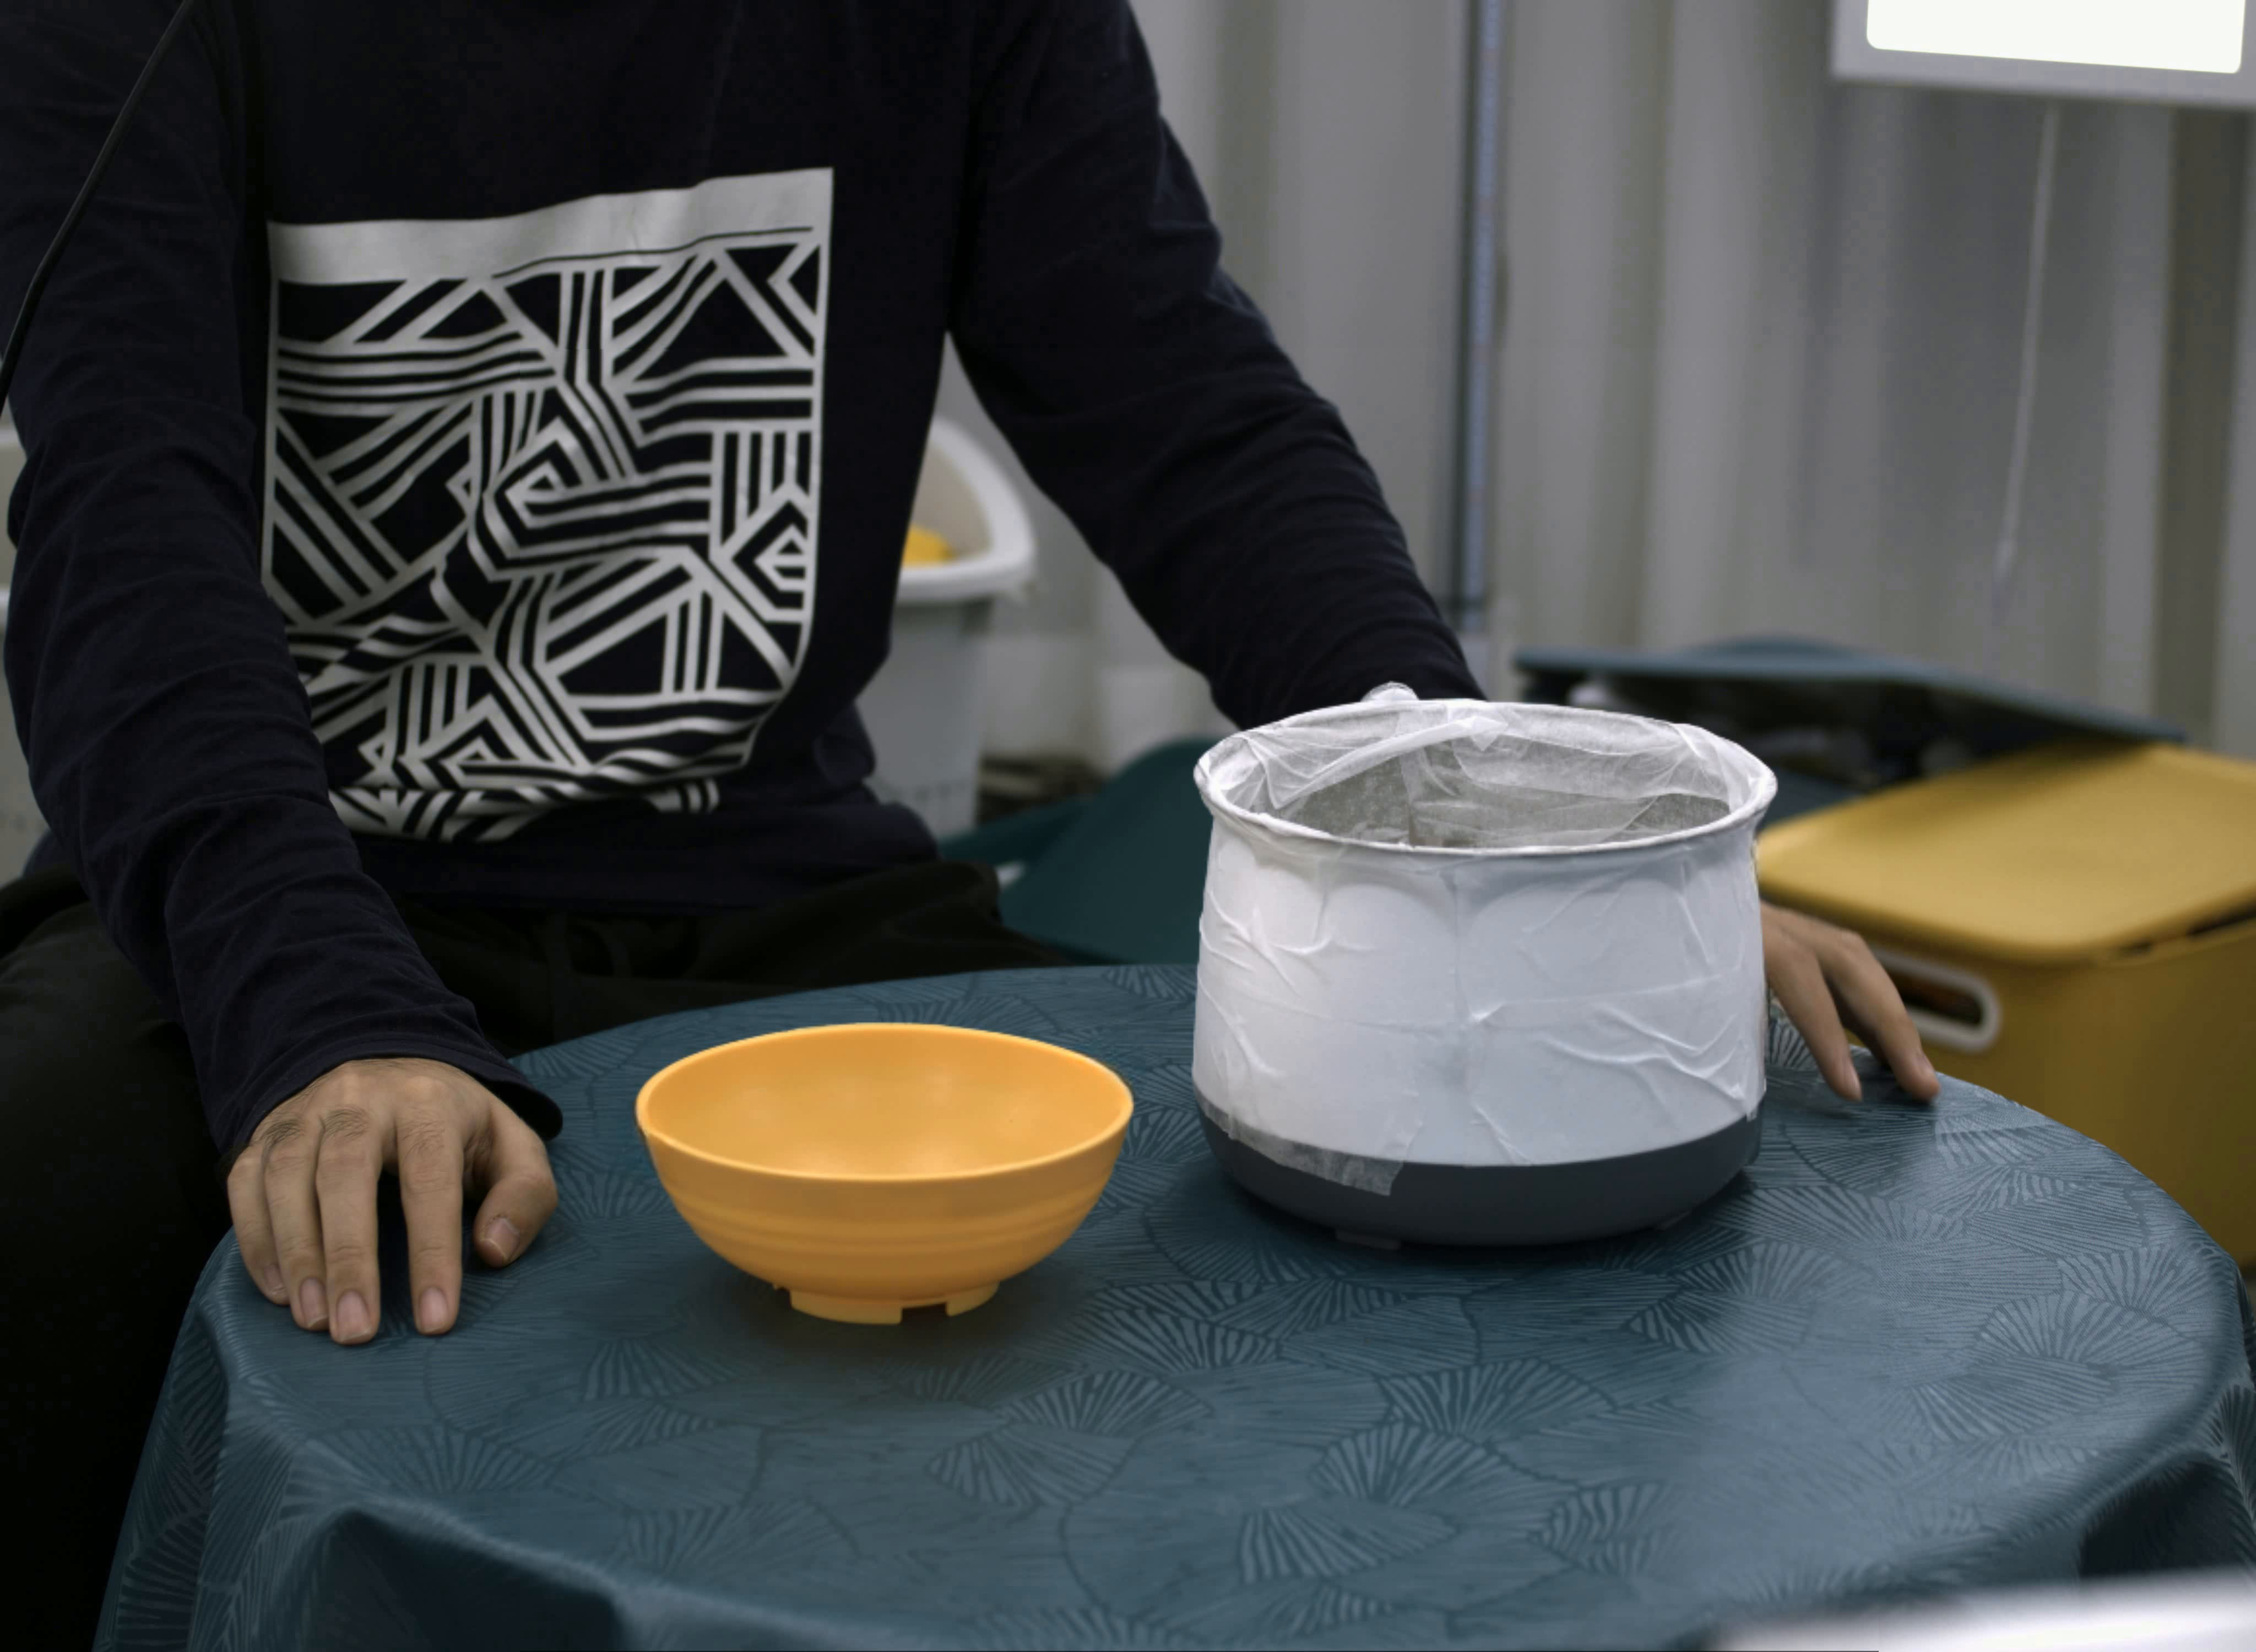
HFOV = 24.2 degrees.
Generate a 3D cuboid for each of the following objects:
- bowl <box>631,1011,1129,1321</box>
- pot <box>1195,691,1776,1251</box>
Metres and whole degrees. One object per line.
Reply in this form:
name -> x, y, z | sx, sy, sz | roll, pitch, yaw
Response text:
bowl -> -0.072, 0.104, 1.533 | 0.145, 0.060, 0.144 | 2, 17, 0
pot -> 0.102, 0.040, 1.642 | 0.179, 0.137, 0.231 | -4, 15, -14
